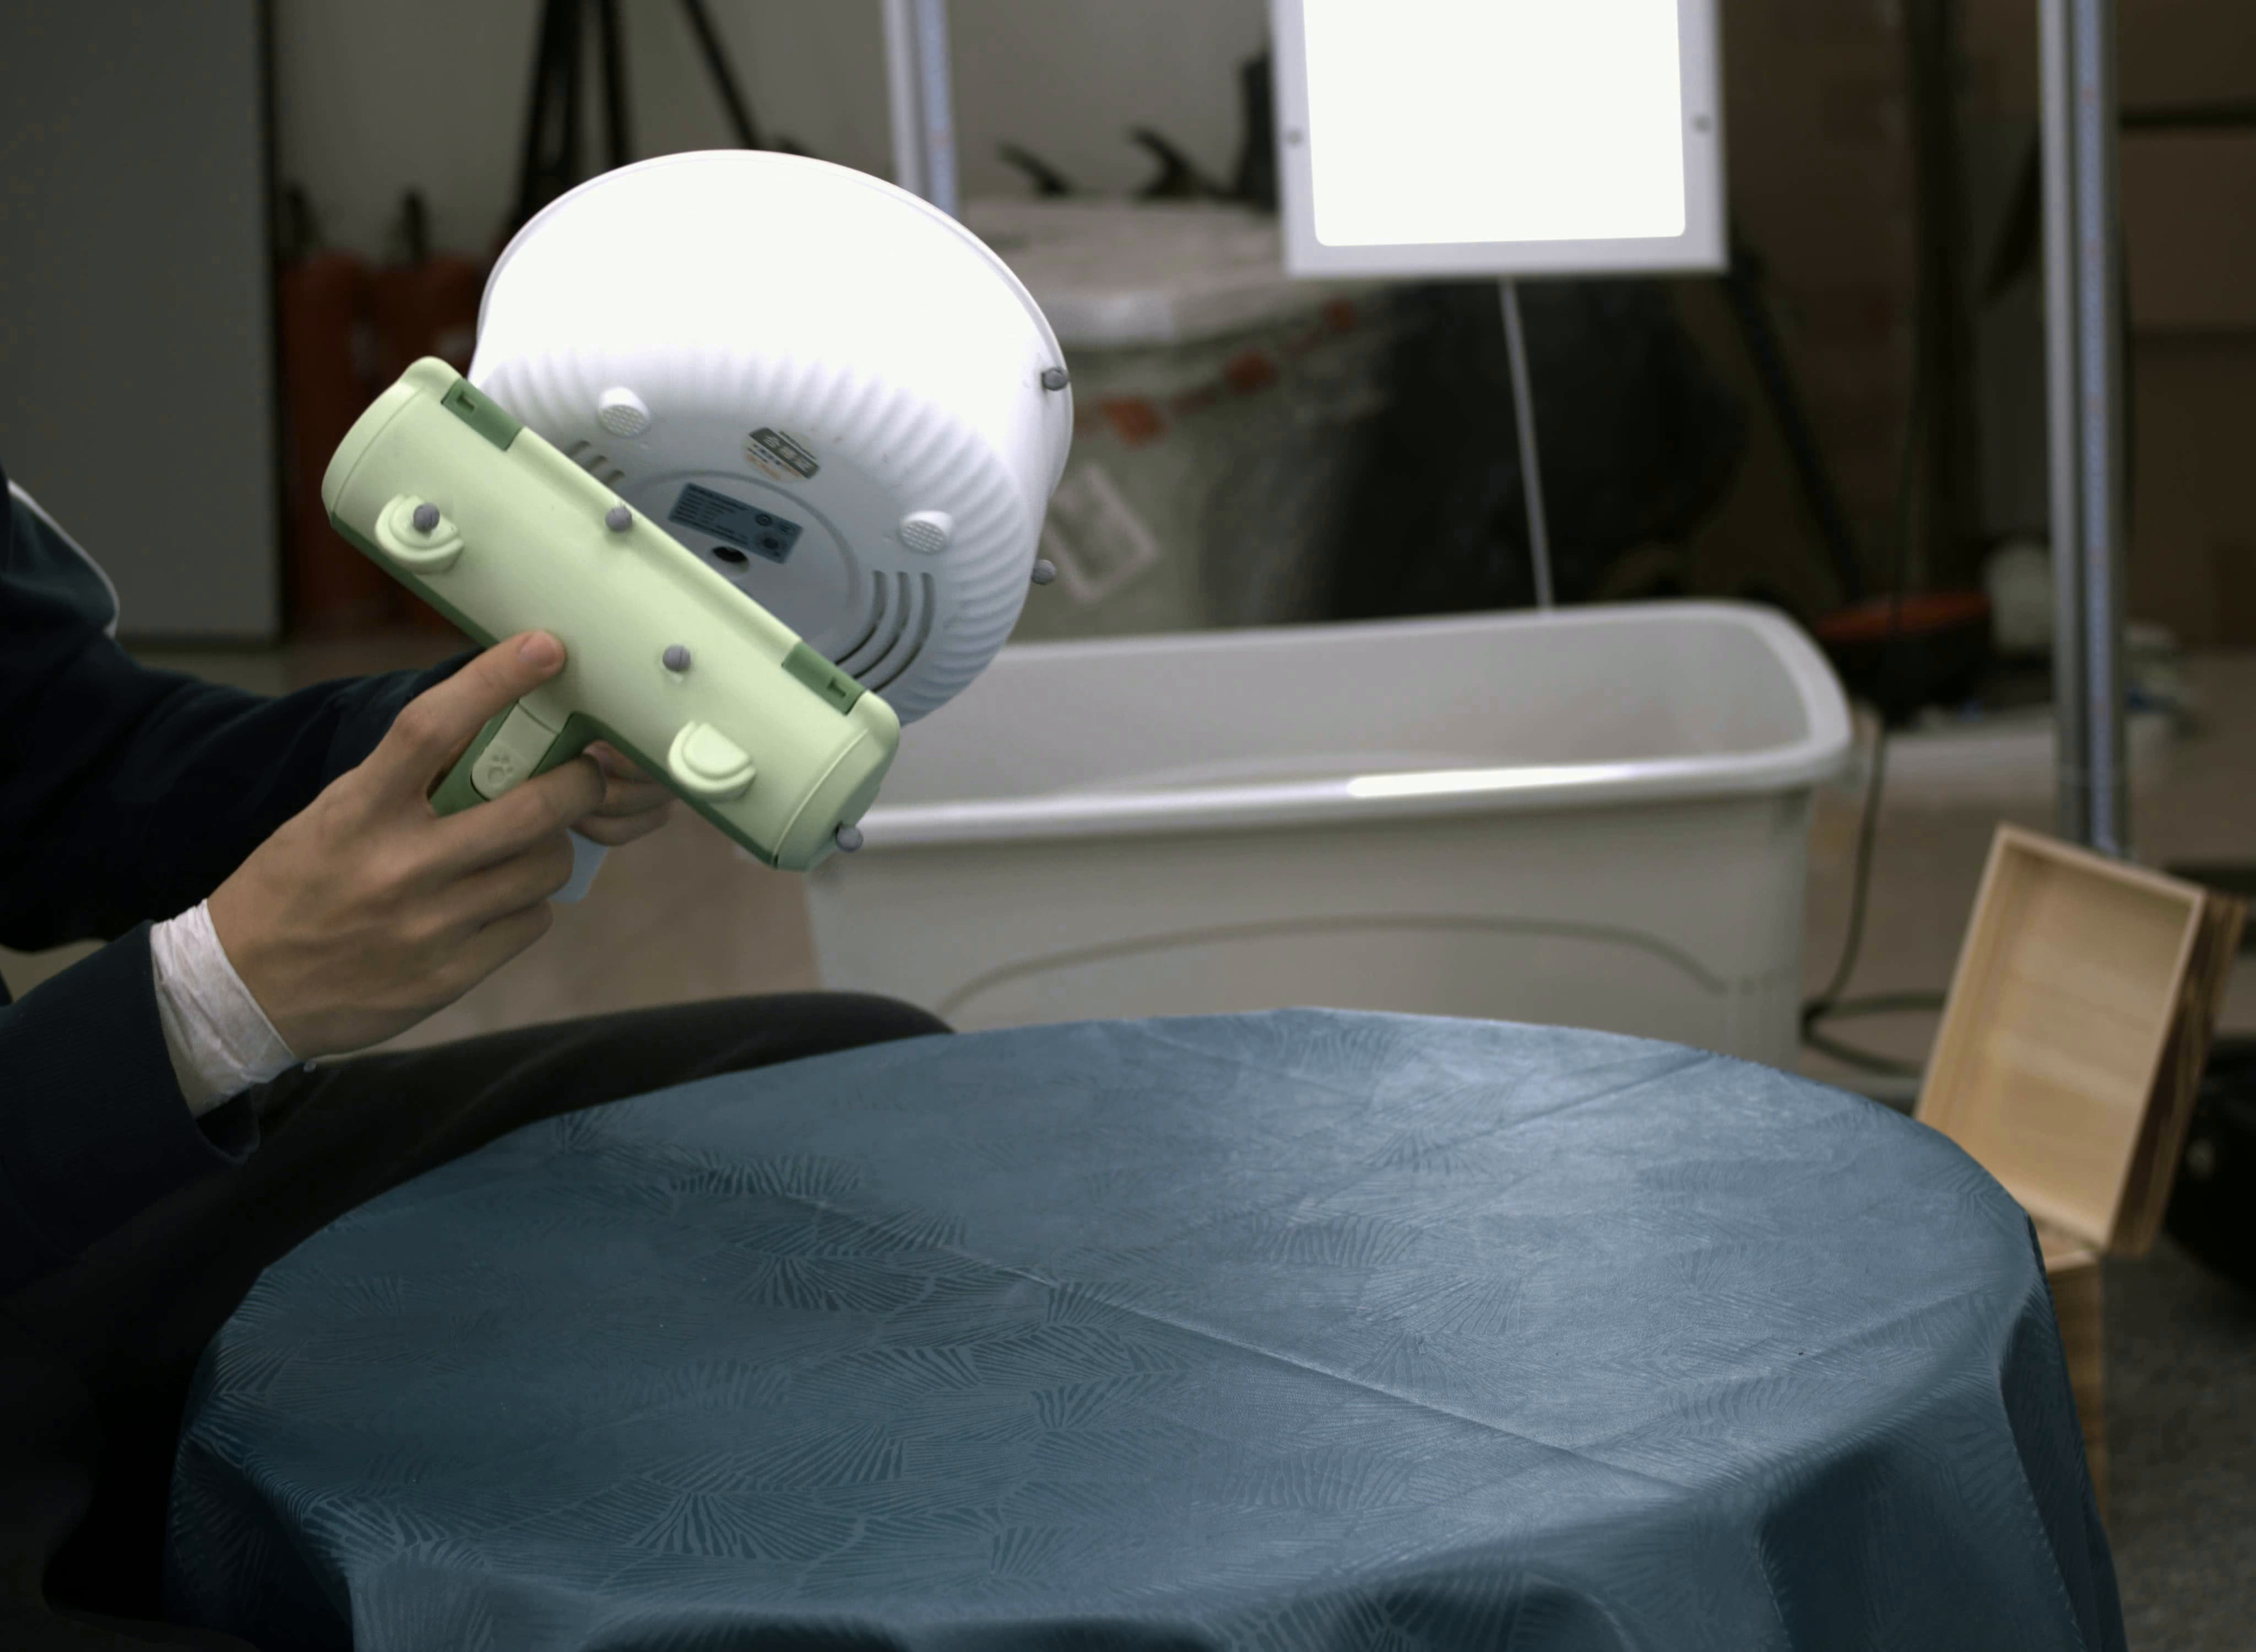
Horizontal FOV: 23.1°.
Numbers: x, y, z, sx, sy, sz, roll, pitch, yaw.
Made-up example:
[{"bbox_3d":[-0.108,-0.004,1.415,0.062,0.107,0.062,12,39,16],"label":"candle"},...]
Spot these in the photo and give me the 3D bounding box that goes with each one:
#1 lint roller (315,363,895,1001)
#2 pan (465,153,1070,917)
[{"bbox_3d":[-0.197,-0.016,1.717,0.199,0.185,0.081,38,12,8],"label":"lint roller"},{"bbox_3d":[-0.152,-0.066,1.859,0.199,0.361,0.101,20,46,-11],"label":"pan"}]
